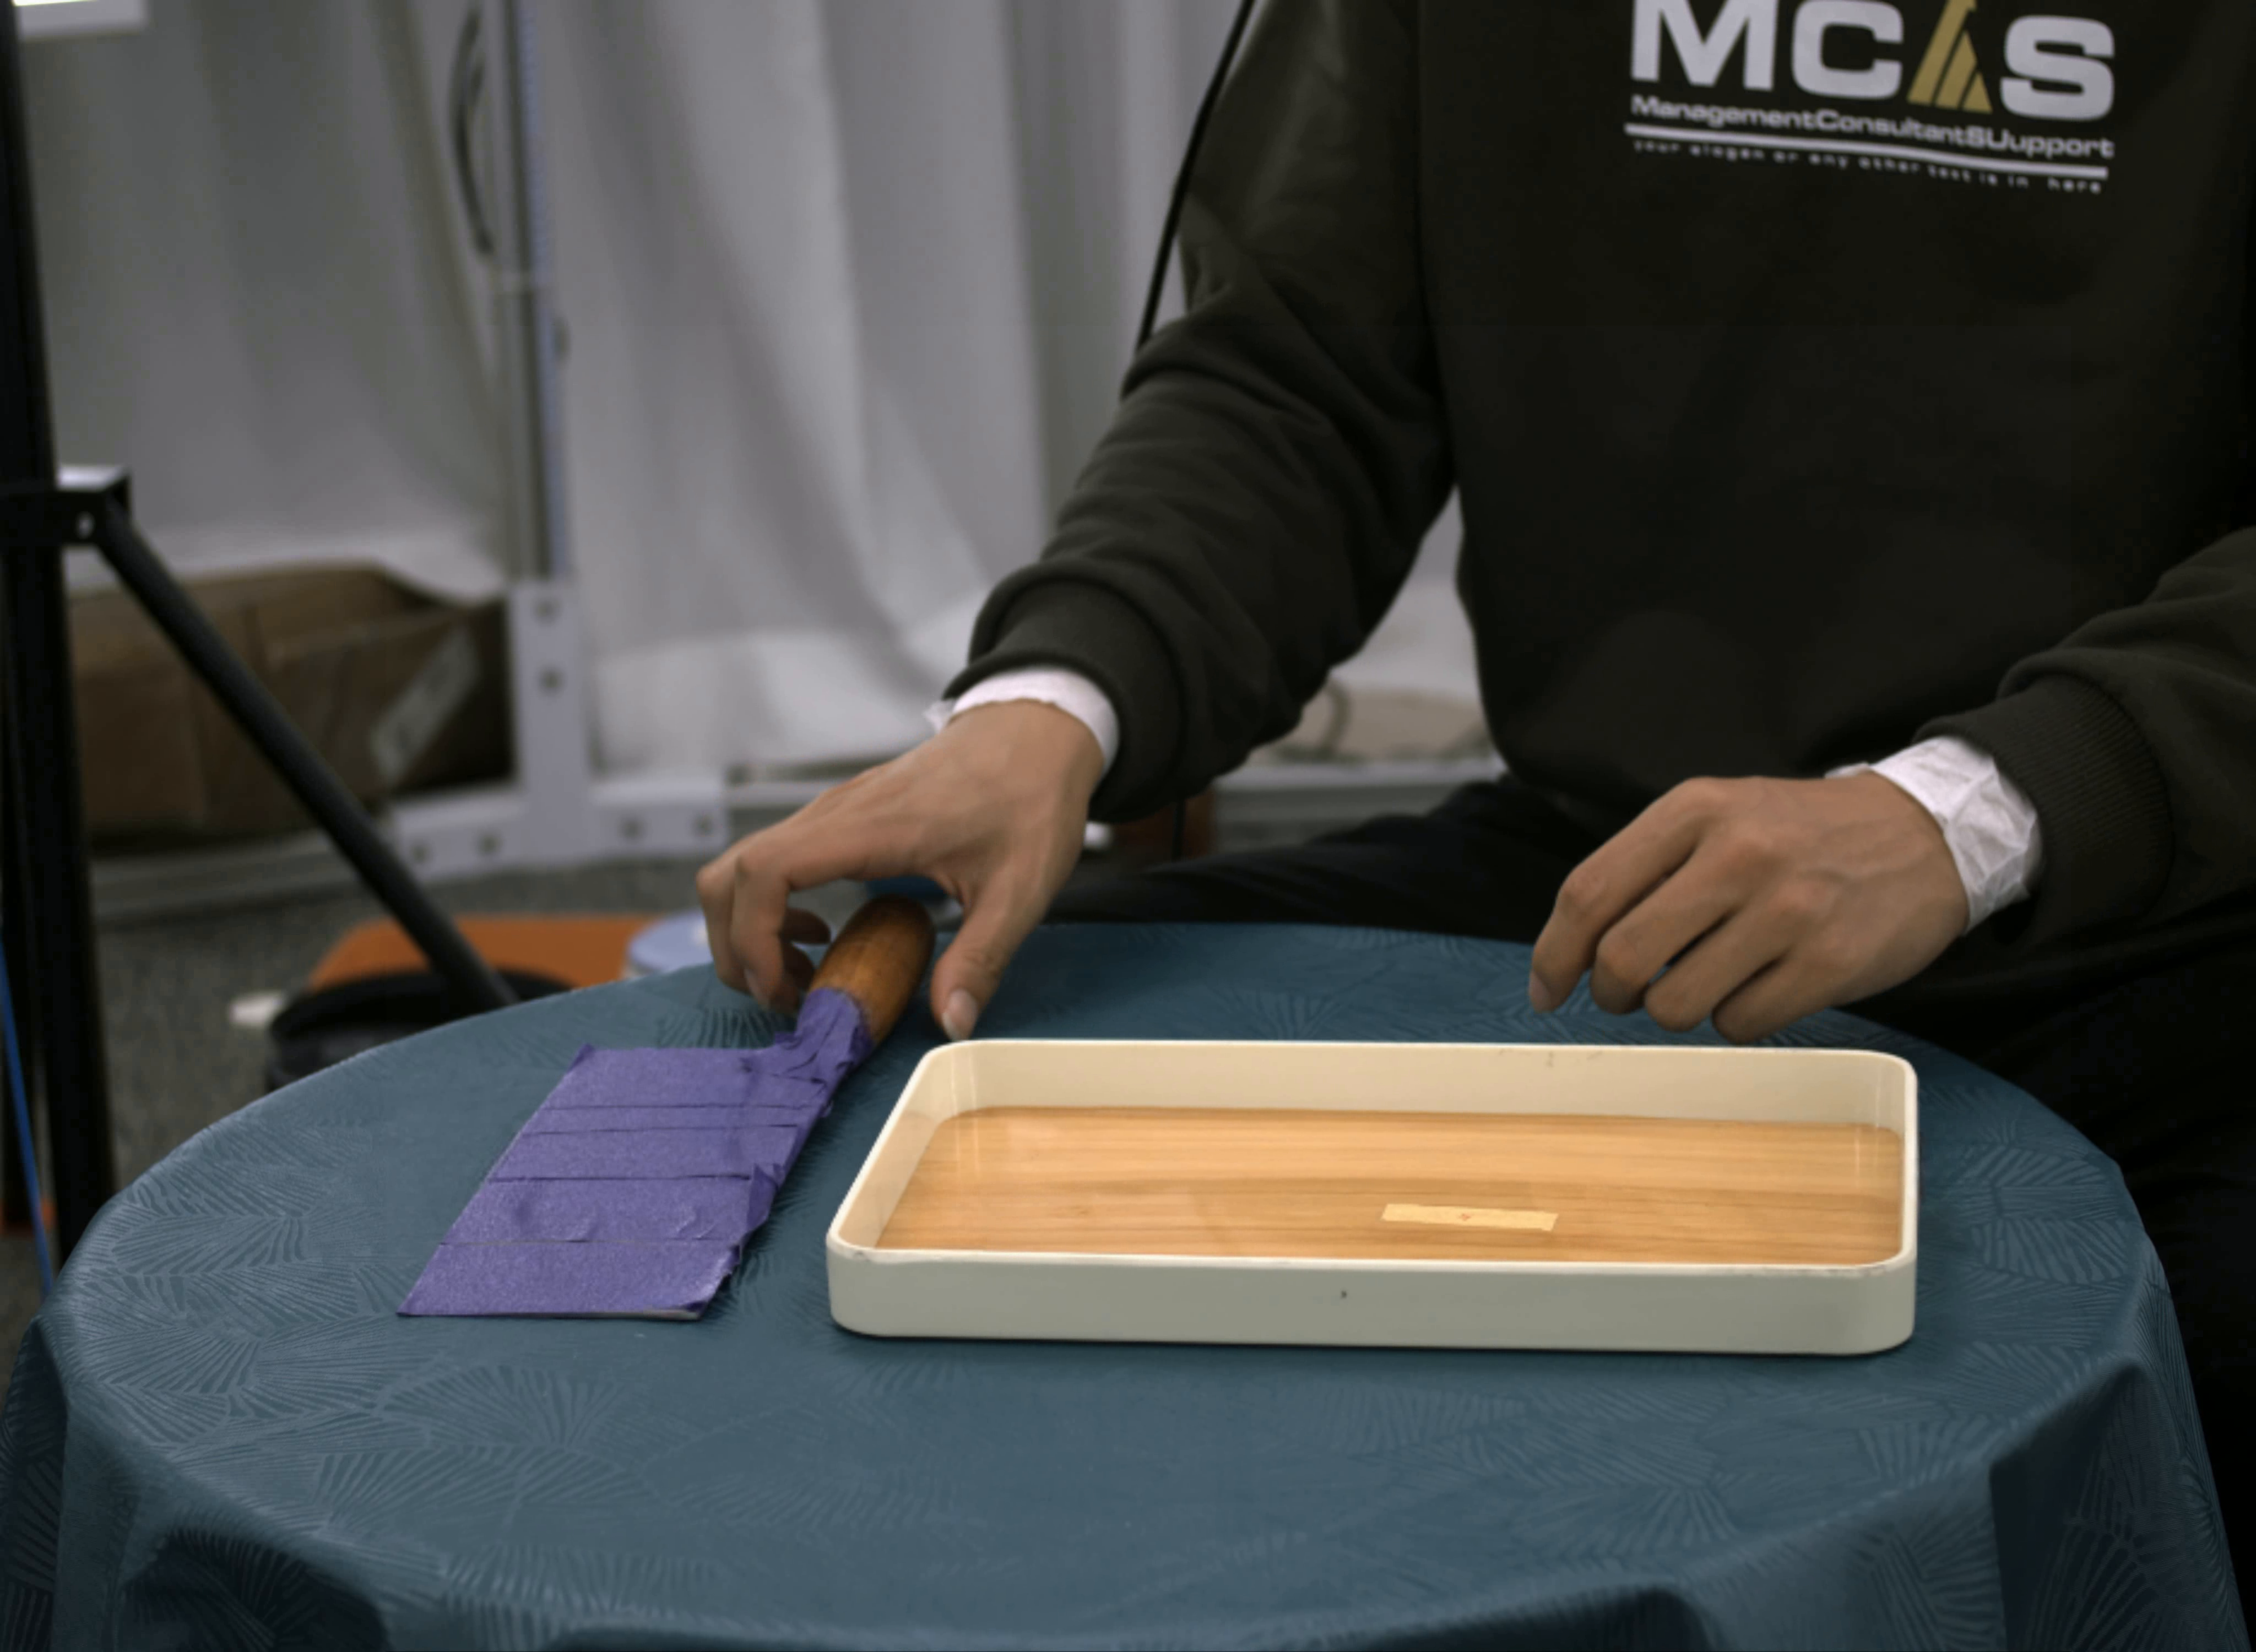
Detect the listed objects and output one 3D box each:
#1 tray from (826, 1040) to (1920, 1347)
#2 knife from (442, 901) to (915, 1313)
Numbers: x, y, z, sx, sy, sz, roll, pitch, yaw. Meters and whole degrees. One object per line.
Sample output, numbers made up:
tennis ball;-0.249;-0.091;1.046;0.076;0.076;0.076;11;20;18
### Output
tray;0.075;0.104;1.515;0.301;0.027;0.191;0;15;10
knife;-0.134;0.082;1.623;0.104;0.032;0.314;0;16;9
